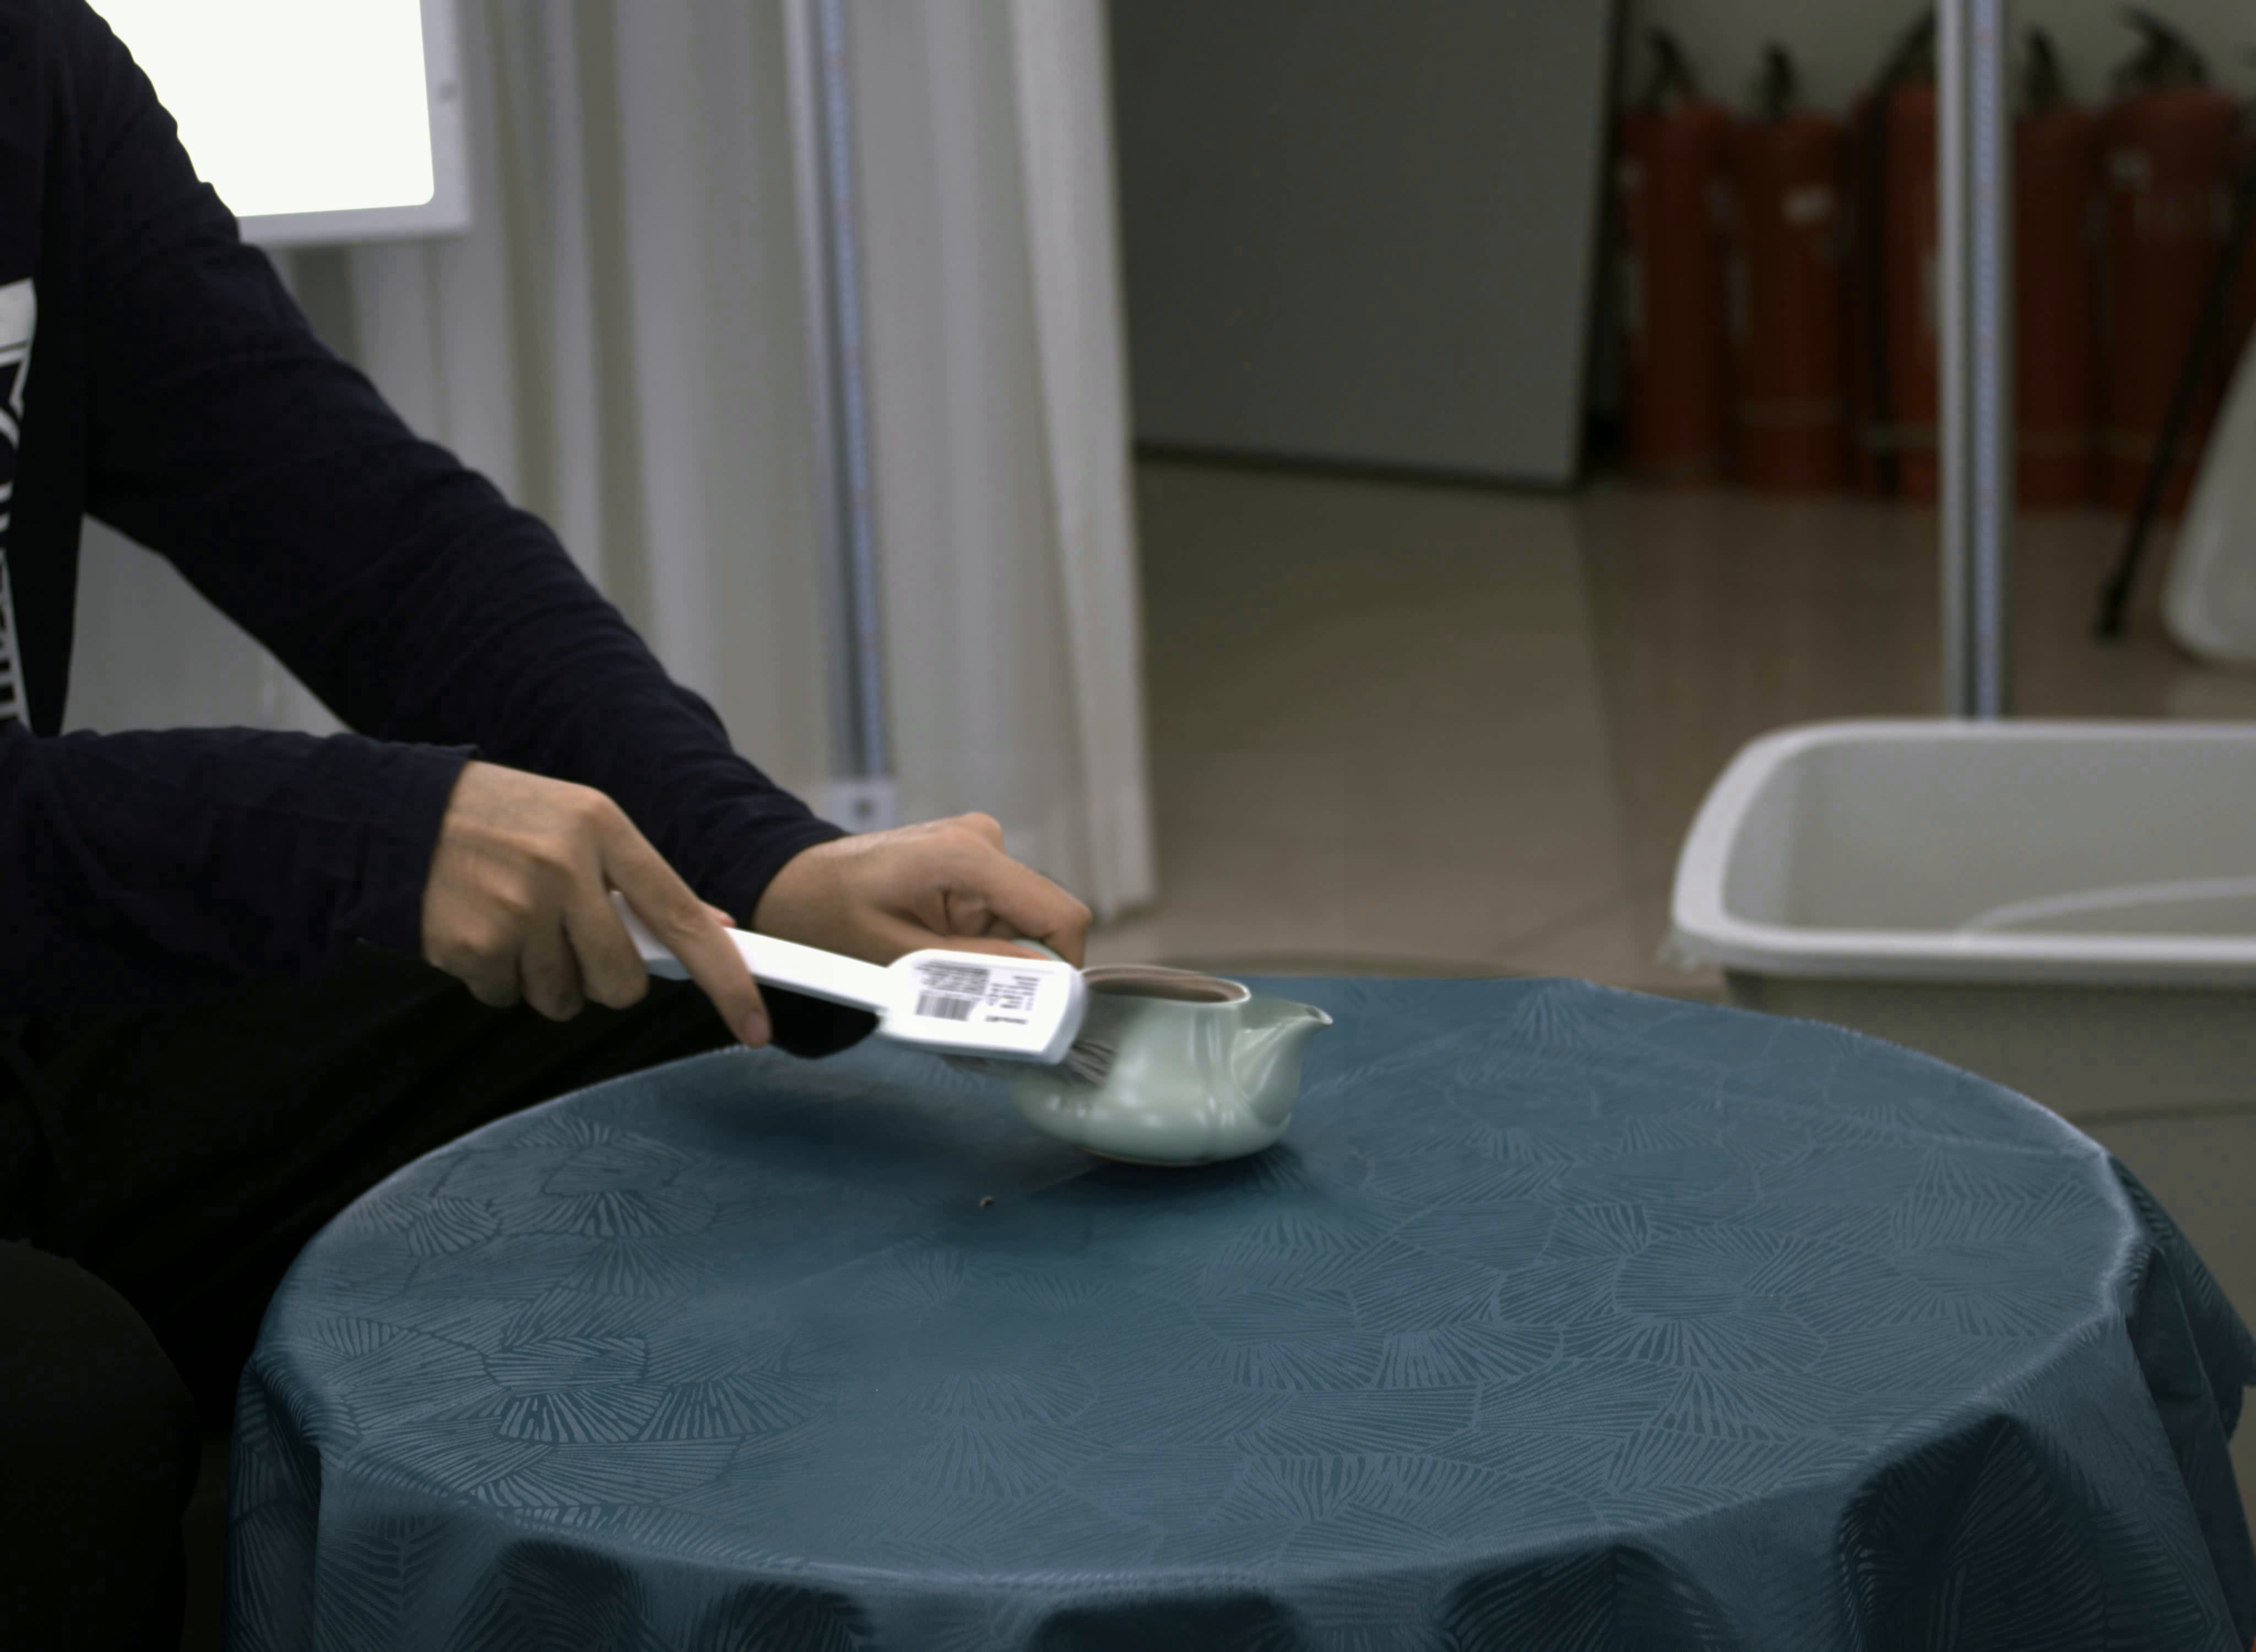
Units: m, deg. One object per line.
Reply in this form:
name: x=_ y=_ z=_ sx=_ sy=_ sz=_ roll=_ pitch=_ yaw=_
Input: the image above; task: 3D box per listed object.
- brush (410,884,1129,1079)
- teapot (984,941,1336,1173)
brush: x=-0.118 y=0.051 z=1.783 sx=0.242 sy=0.035 sz=0.050 roll=7 pitch=-17 yaw=14
teapot: x=0.005 y=0.078 z=1.802 sx=0.137 sy=0.062 sz=0.094 roll=12 pitch=14 yaw=28
